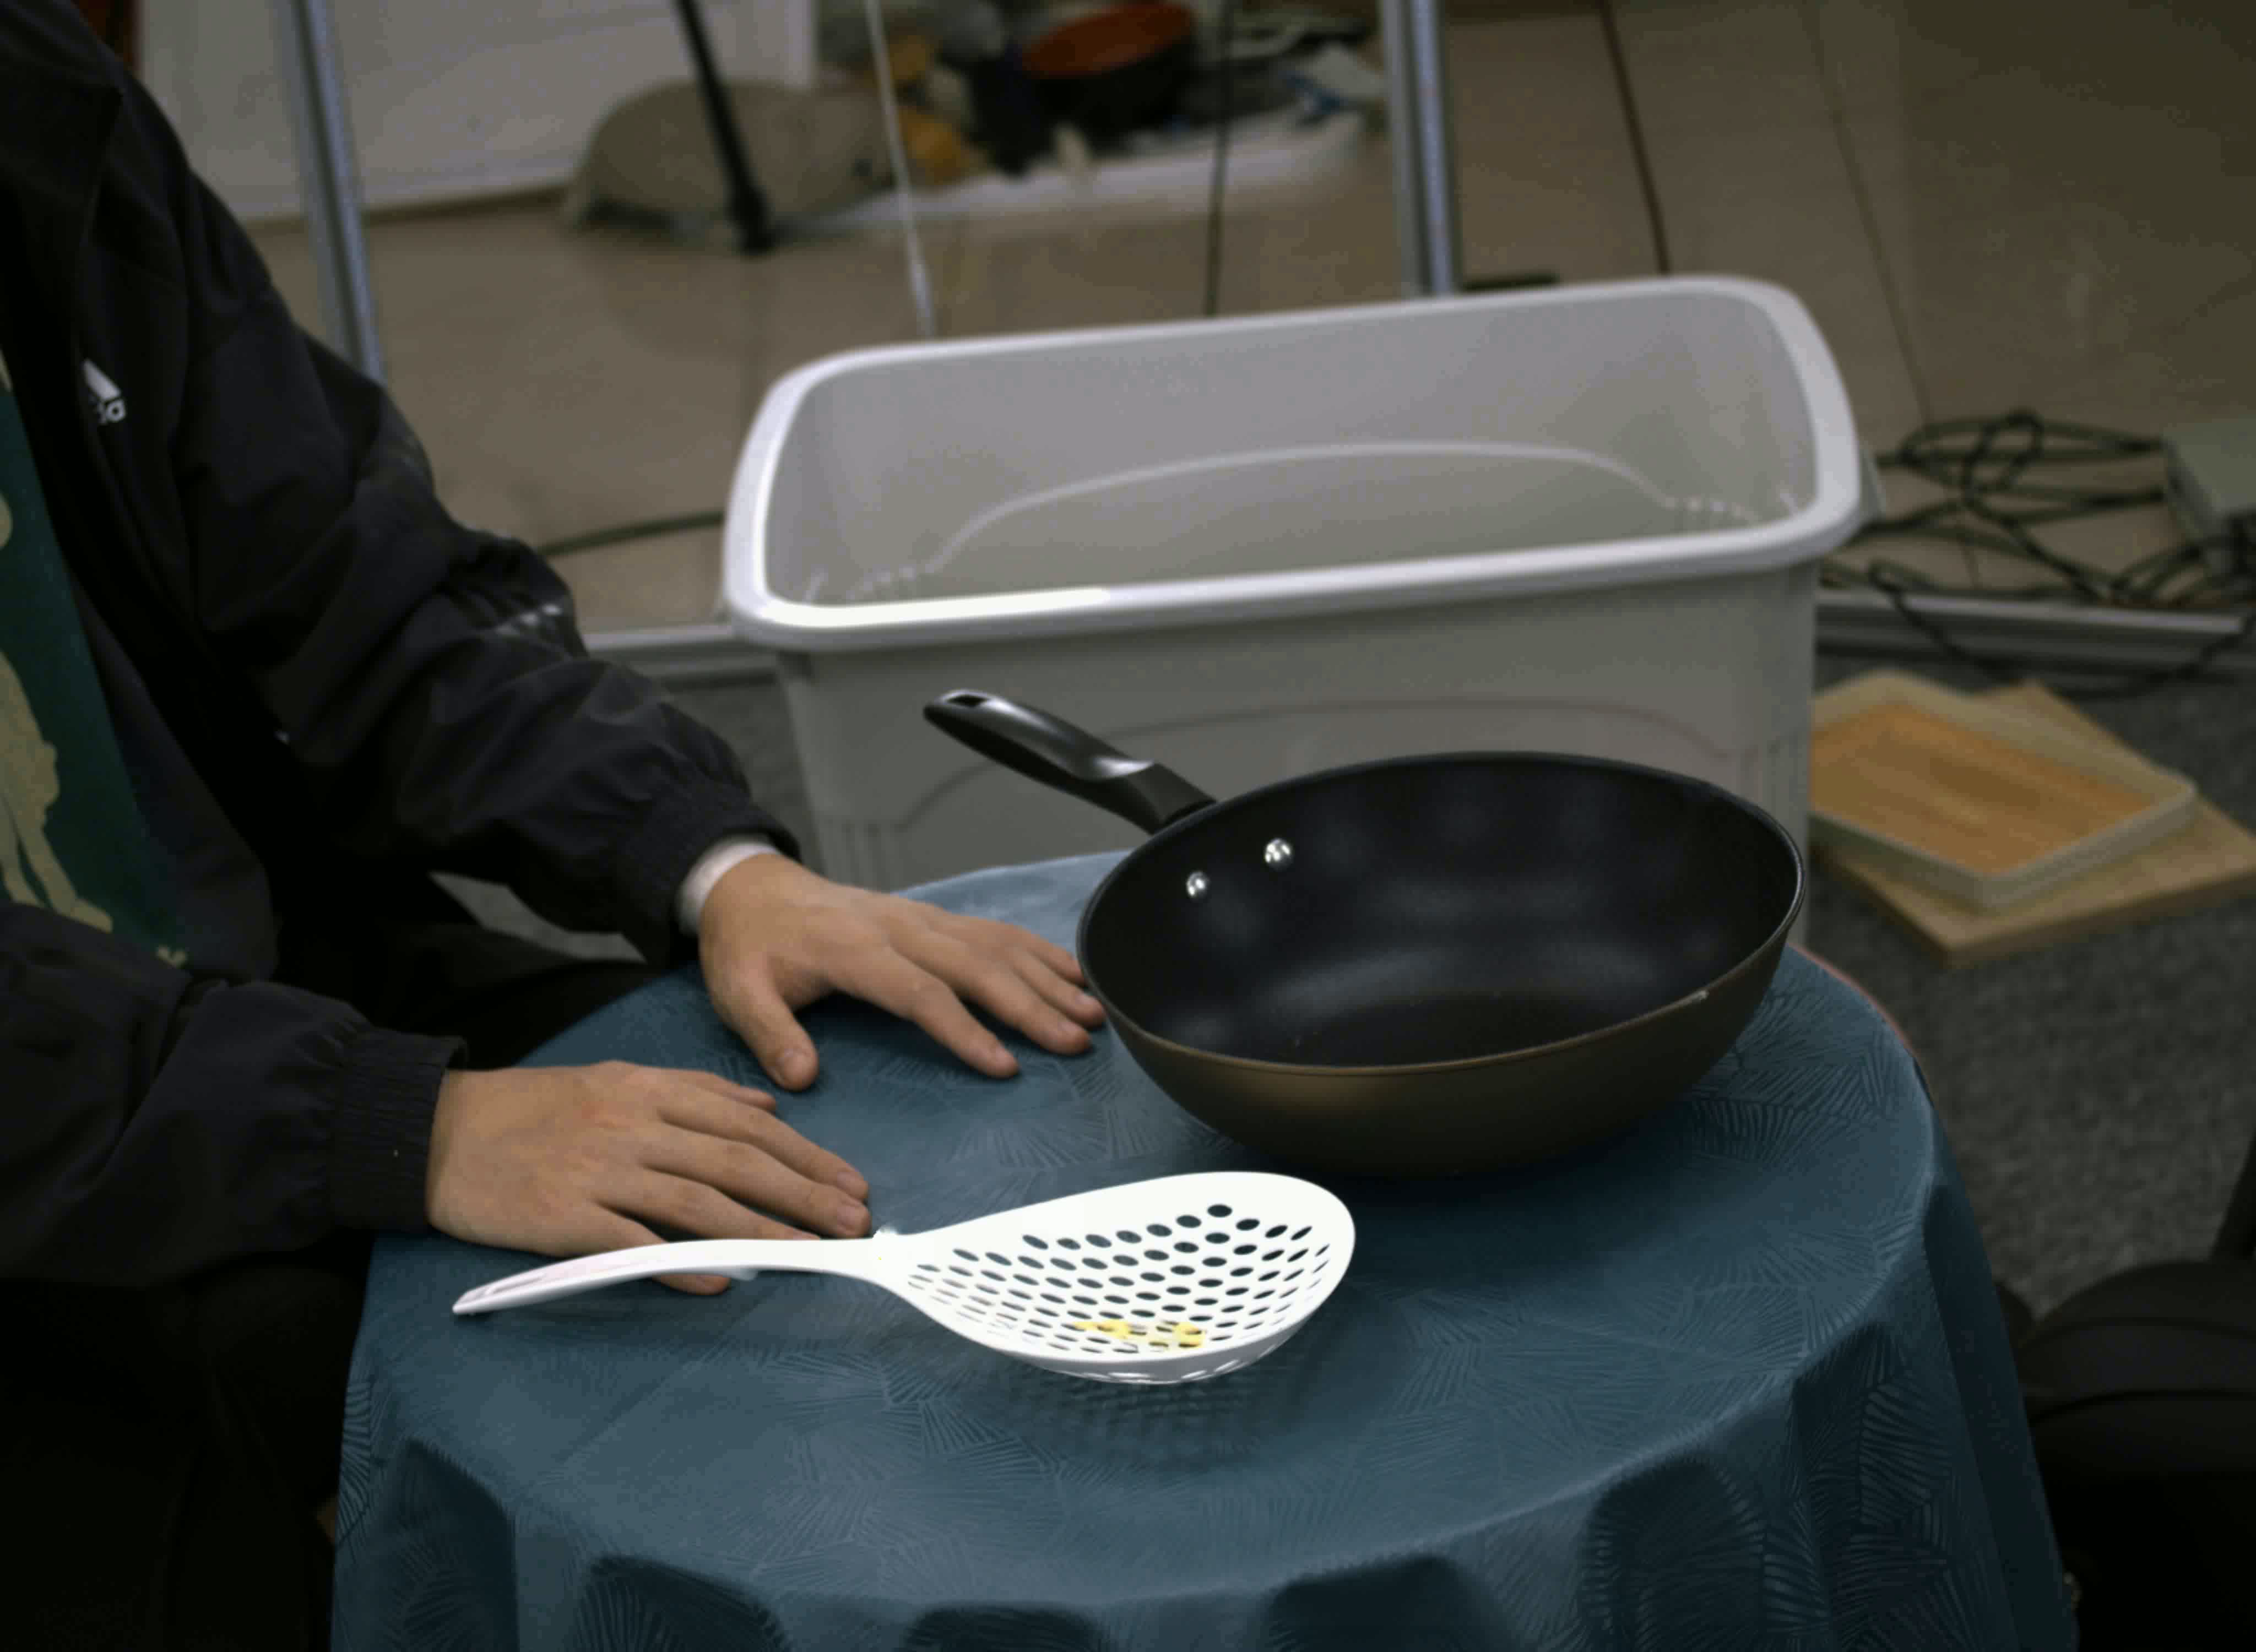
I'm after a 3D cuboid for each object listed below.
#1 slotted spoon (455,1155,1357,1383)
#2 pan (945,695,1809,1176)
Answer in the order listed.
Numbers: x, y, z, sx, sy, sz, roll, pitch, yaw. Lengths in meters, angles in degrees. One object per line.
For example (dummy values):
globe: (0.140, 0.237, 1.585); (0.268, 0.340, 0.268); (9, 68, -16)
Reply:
slotted spoon: (-0.085, 0.167, 2.059); (0.347, 0.051, 0.135); (2, 28, 18)
pan: (0.067, 0.040, 2.246); (0.286, 0.088, 0.459); (-23, 28, -32)
